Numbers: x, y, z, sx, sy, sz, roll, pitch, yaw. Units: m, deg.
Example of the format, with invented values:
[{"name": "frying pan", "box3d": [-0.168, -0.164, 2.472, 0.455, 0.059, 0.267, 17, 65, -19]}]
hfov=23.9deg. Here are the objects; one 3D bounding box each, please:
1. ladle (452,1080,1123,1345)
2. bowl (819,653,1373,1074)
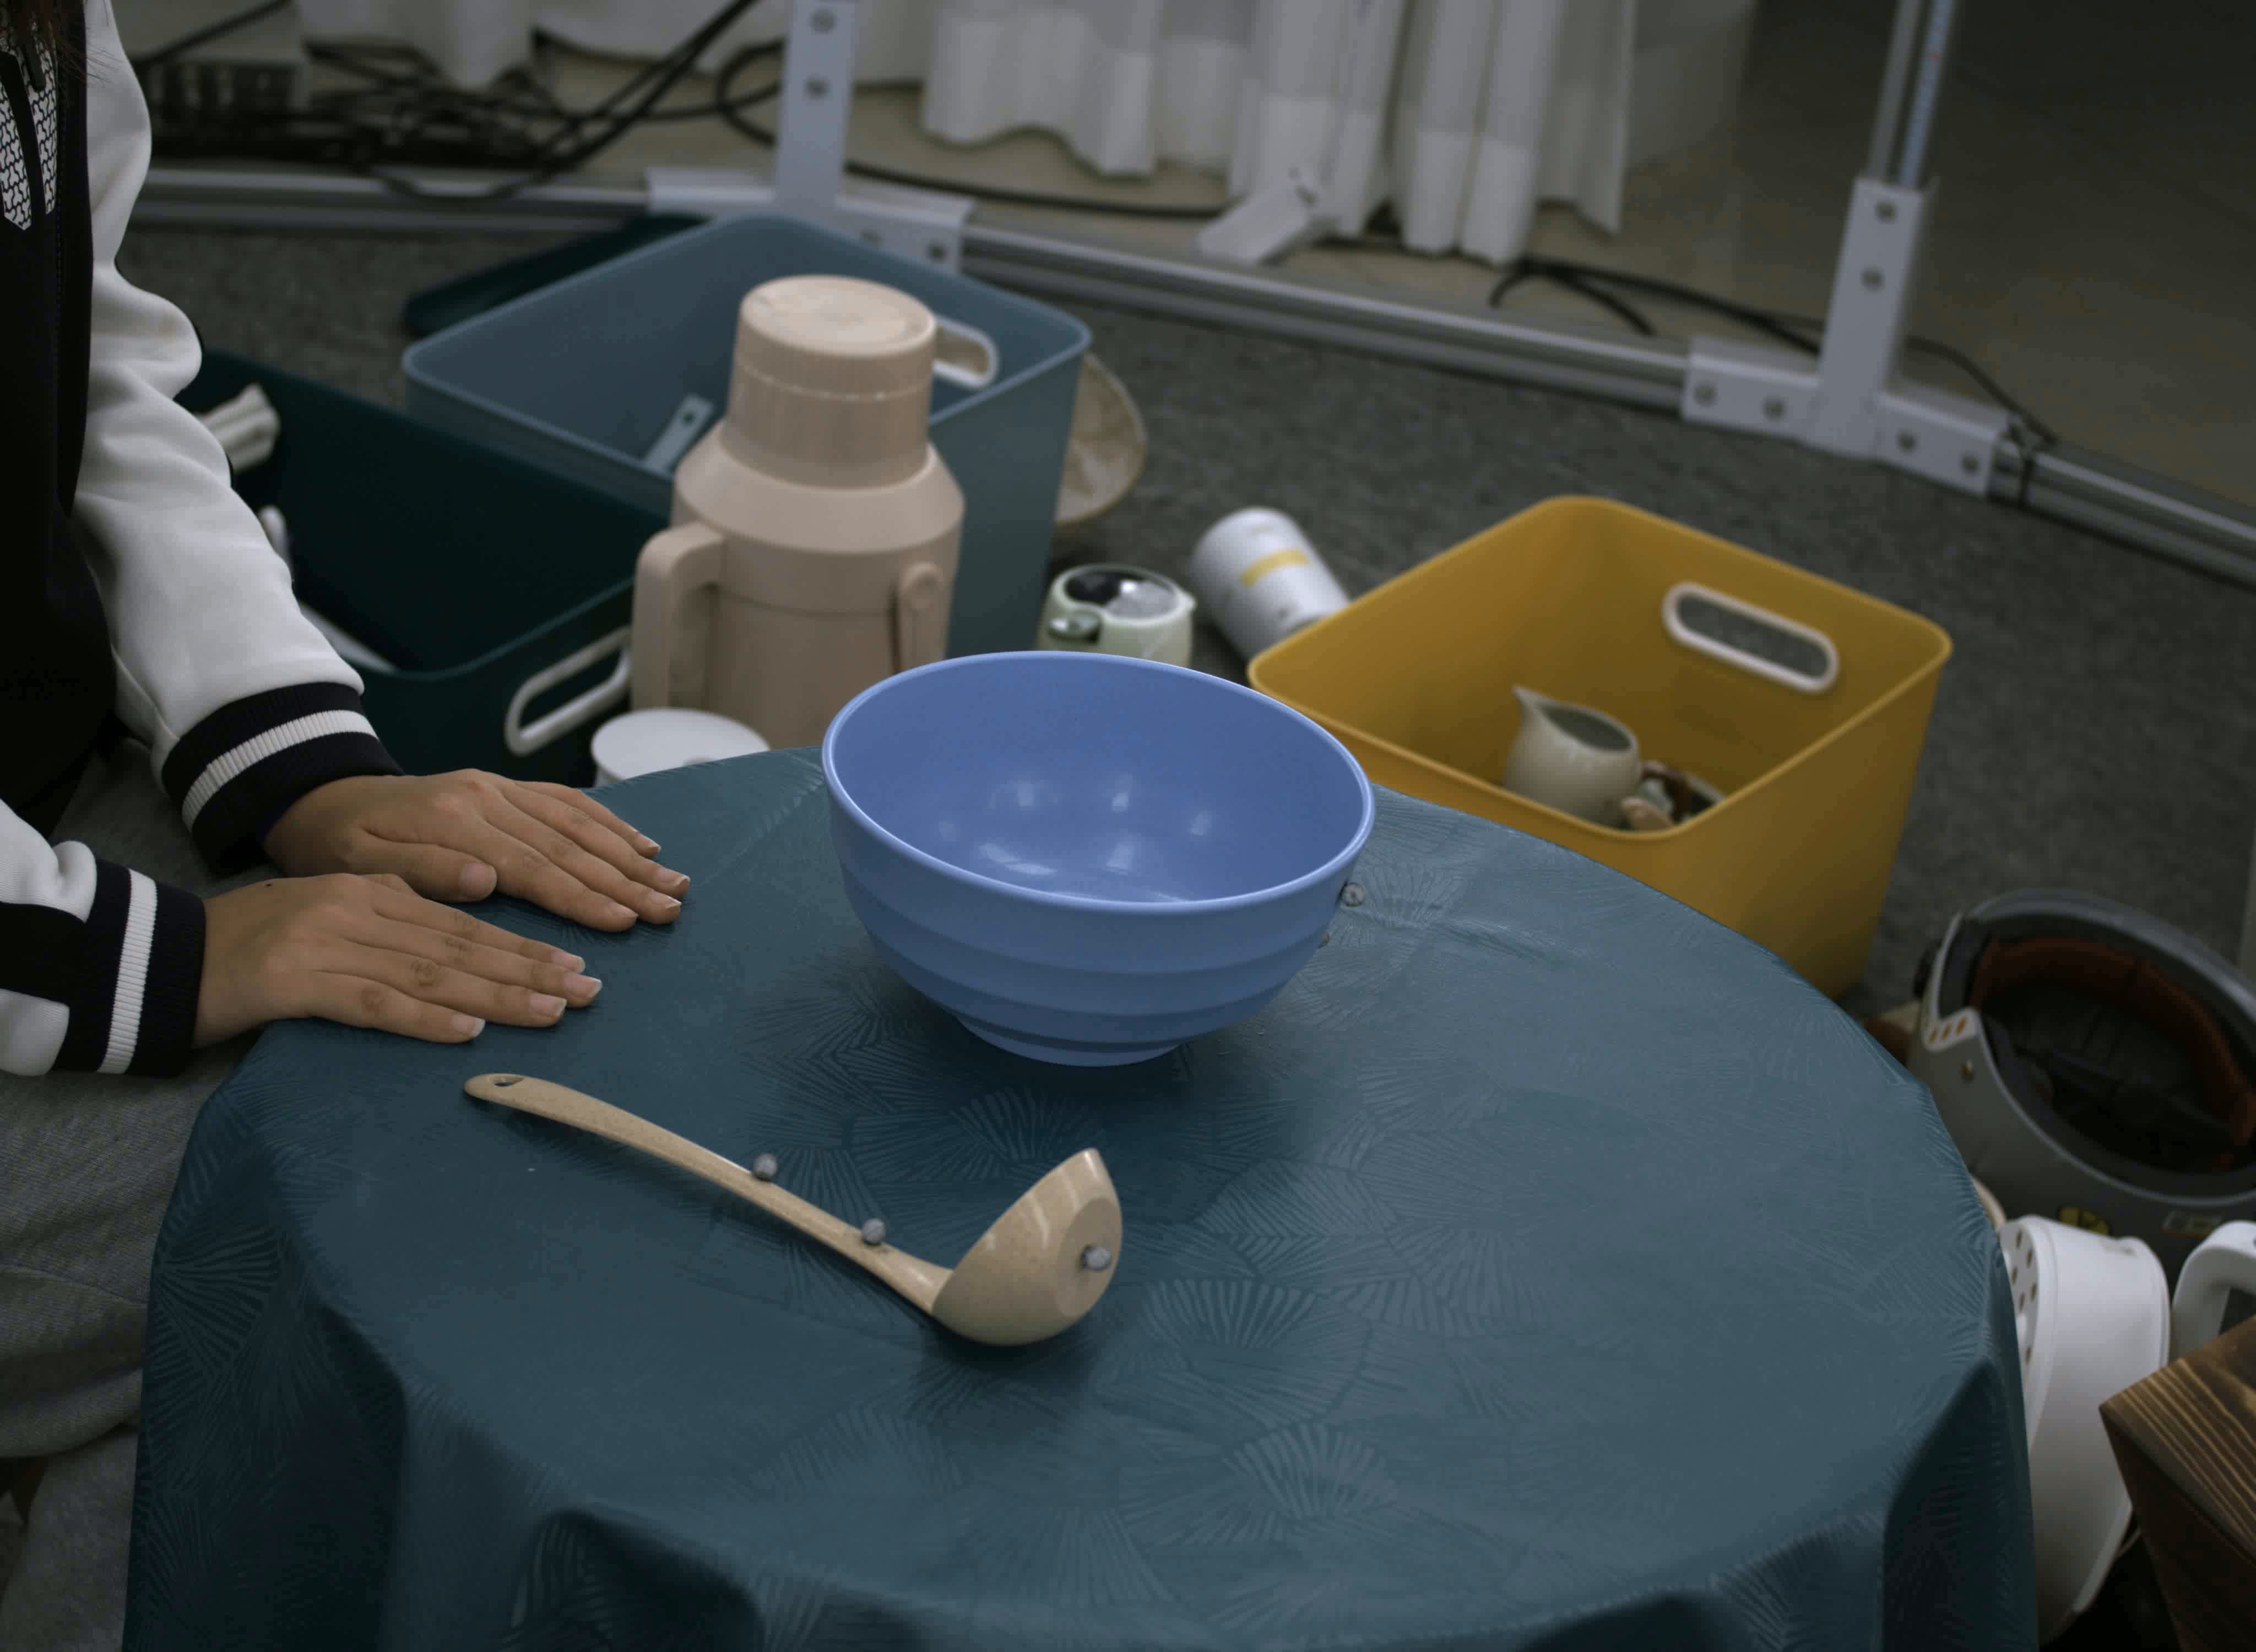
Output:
[{"name": "ladle", "box3d": [-0.118, 0.099, 1.743, 0.256, 0.072, 0.072, 21, 29, 26]}, {"name": "bowl", "box3d": [-0.015, 0.025, 1.895, 0.196, 0.095, 0.198, 4, 28, -3]}]
